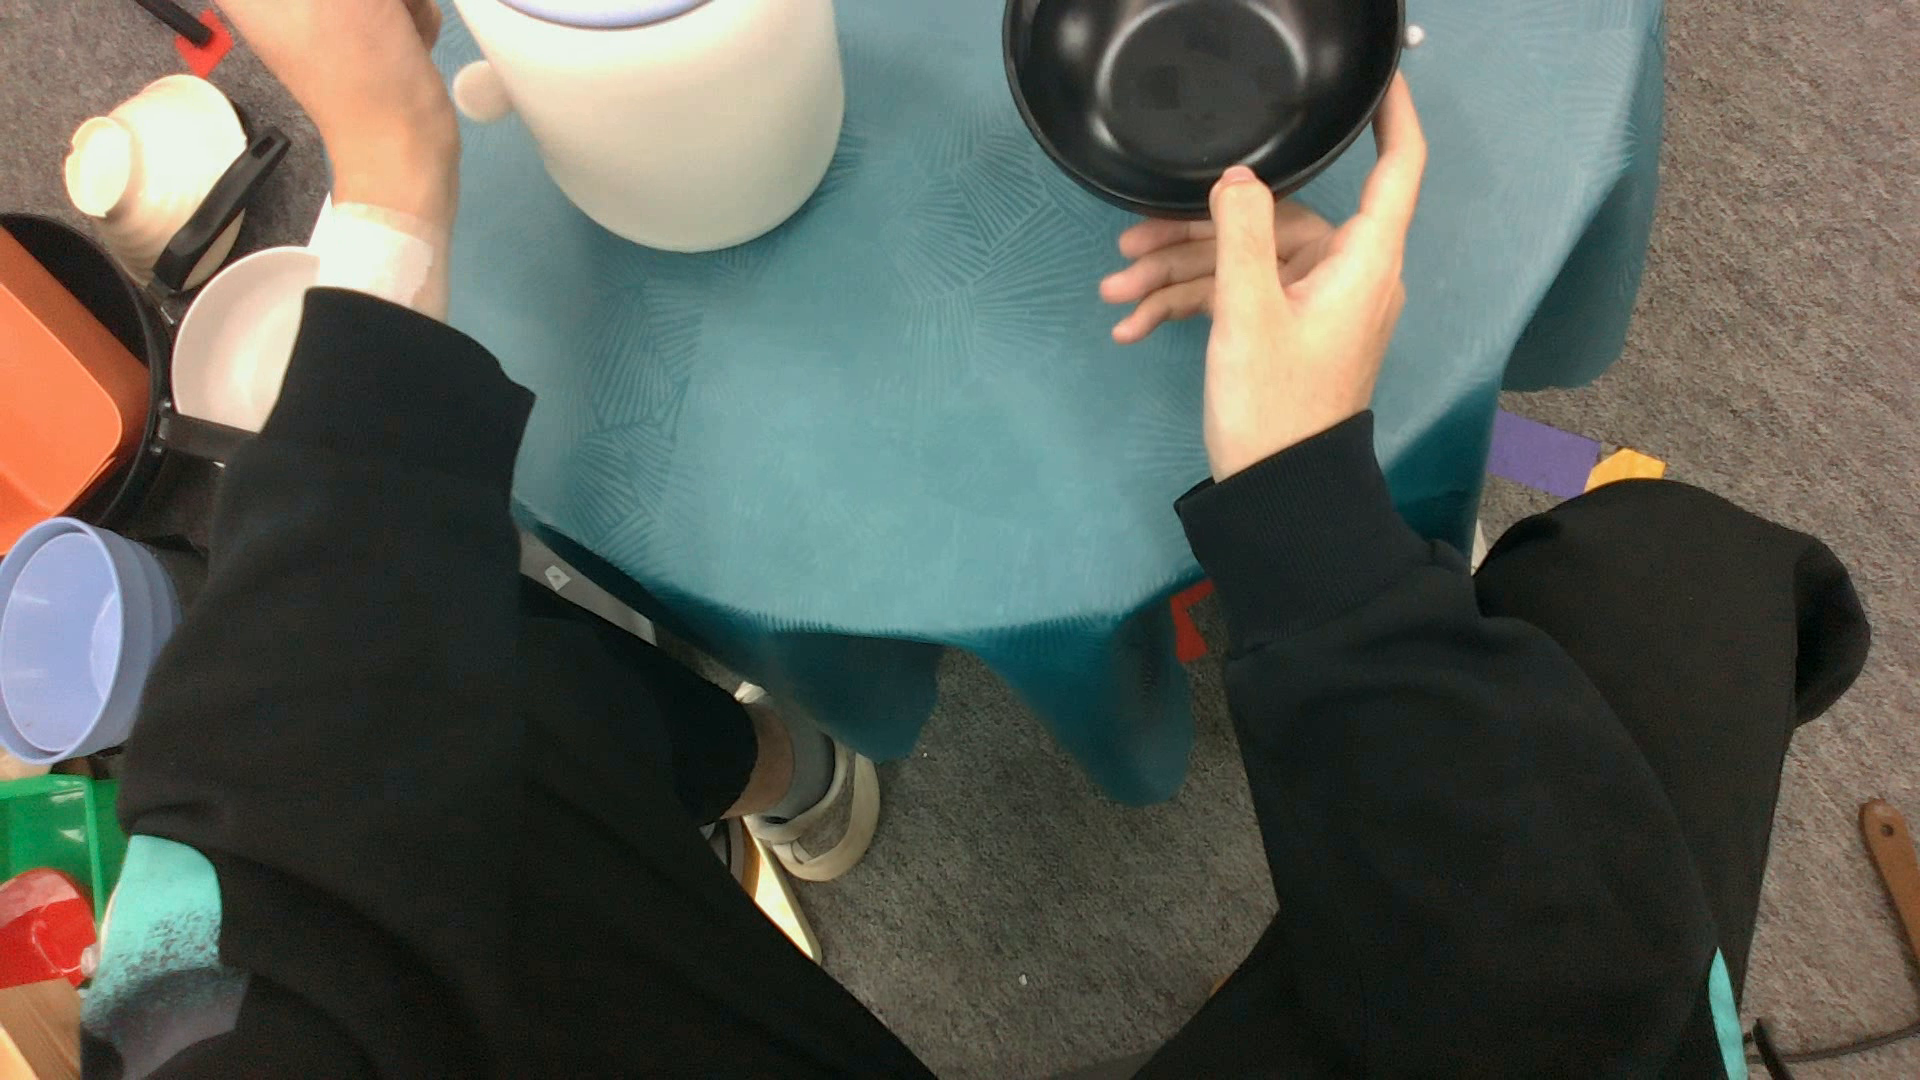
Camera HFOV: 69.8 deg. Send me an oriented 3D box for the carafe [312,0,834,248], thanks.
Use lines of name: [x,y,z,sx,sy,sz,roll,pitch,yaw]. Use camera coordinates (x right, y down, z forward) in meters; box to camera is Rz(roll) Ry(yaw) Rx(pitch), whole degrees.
carafe: [-0.141,-0.201,0.519,0.191,0.182,0.132,-4,78,-2]

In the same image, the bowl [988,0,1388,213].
bowl: [0.082,-0.180,0.506,0.140,0.050,0.140,-1,81,8]
